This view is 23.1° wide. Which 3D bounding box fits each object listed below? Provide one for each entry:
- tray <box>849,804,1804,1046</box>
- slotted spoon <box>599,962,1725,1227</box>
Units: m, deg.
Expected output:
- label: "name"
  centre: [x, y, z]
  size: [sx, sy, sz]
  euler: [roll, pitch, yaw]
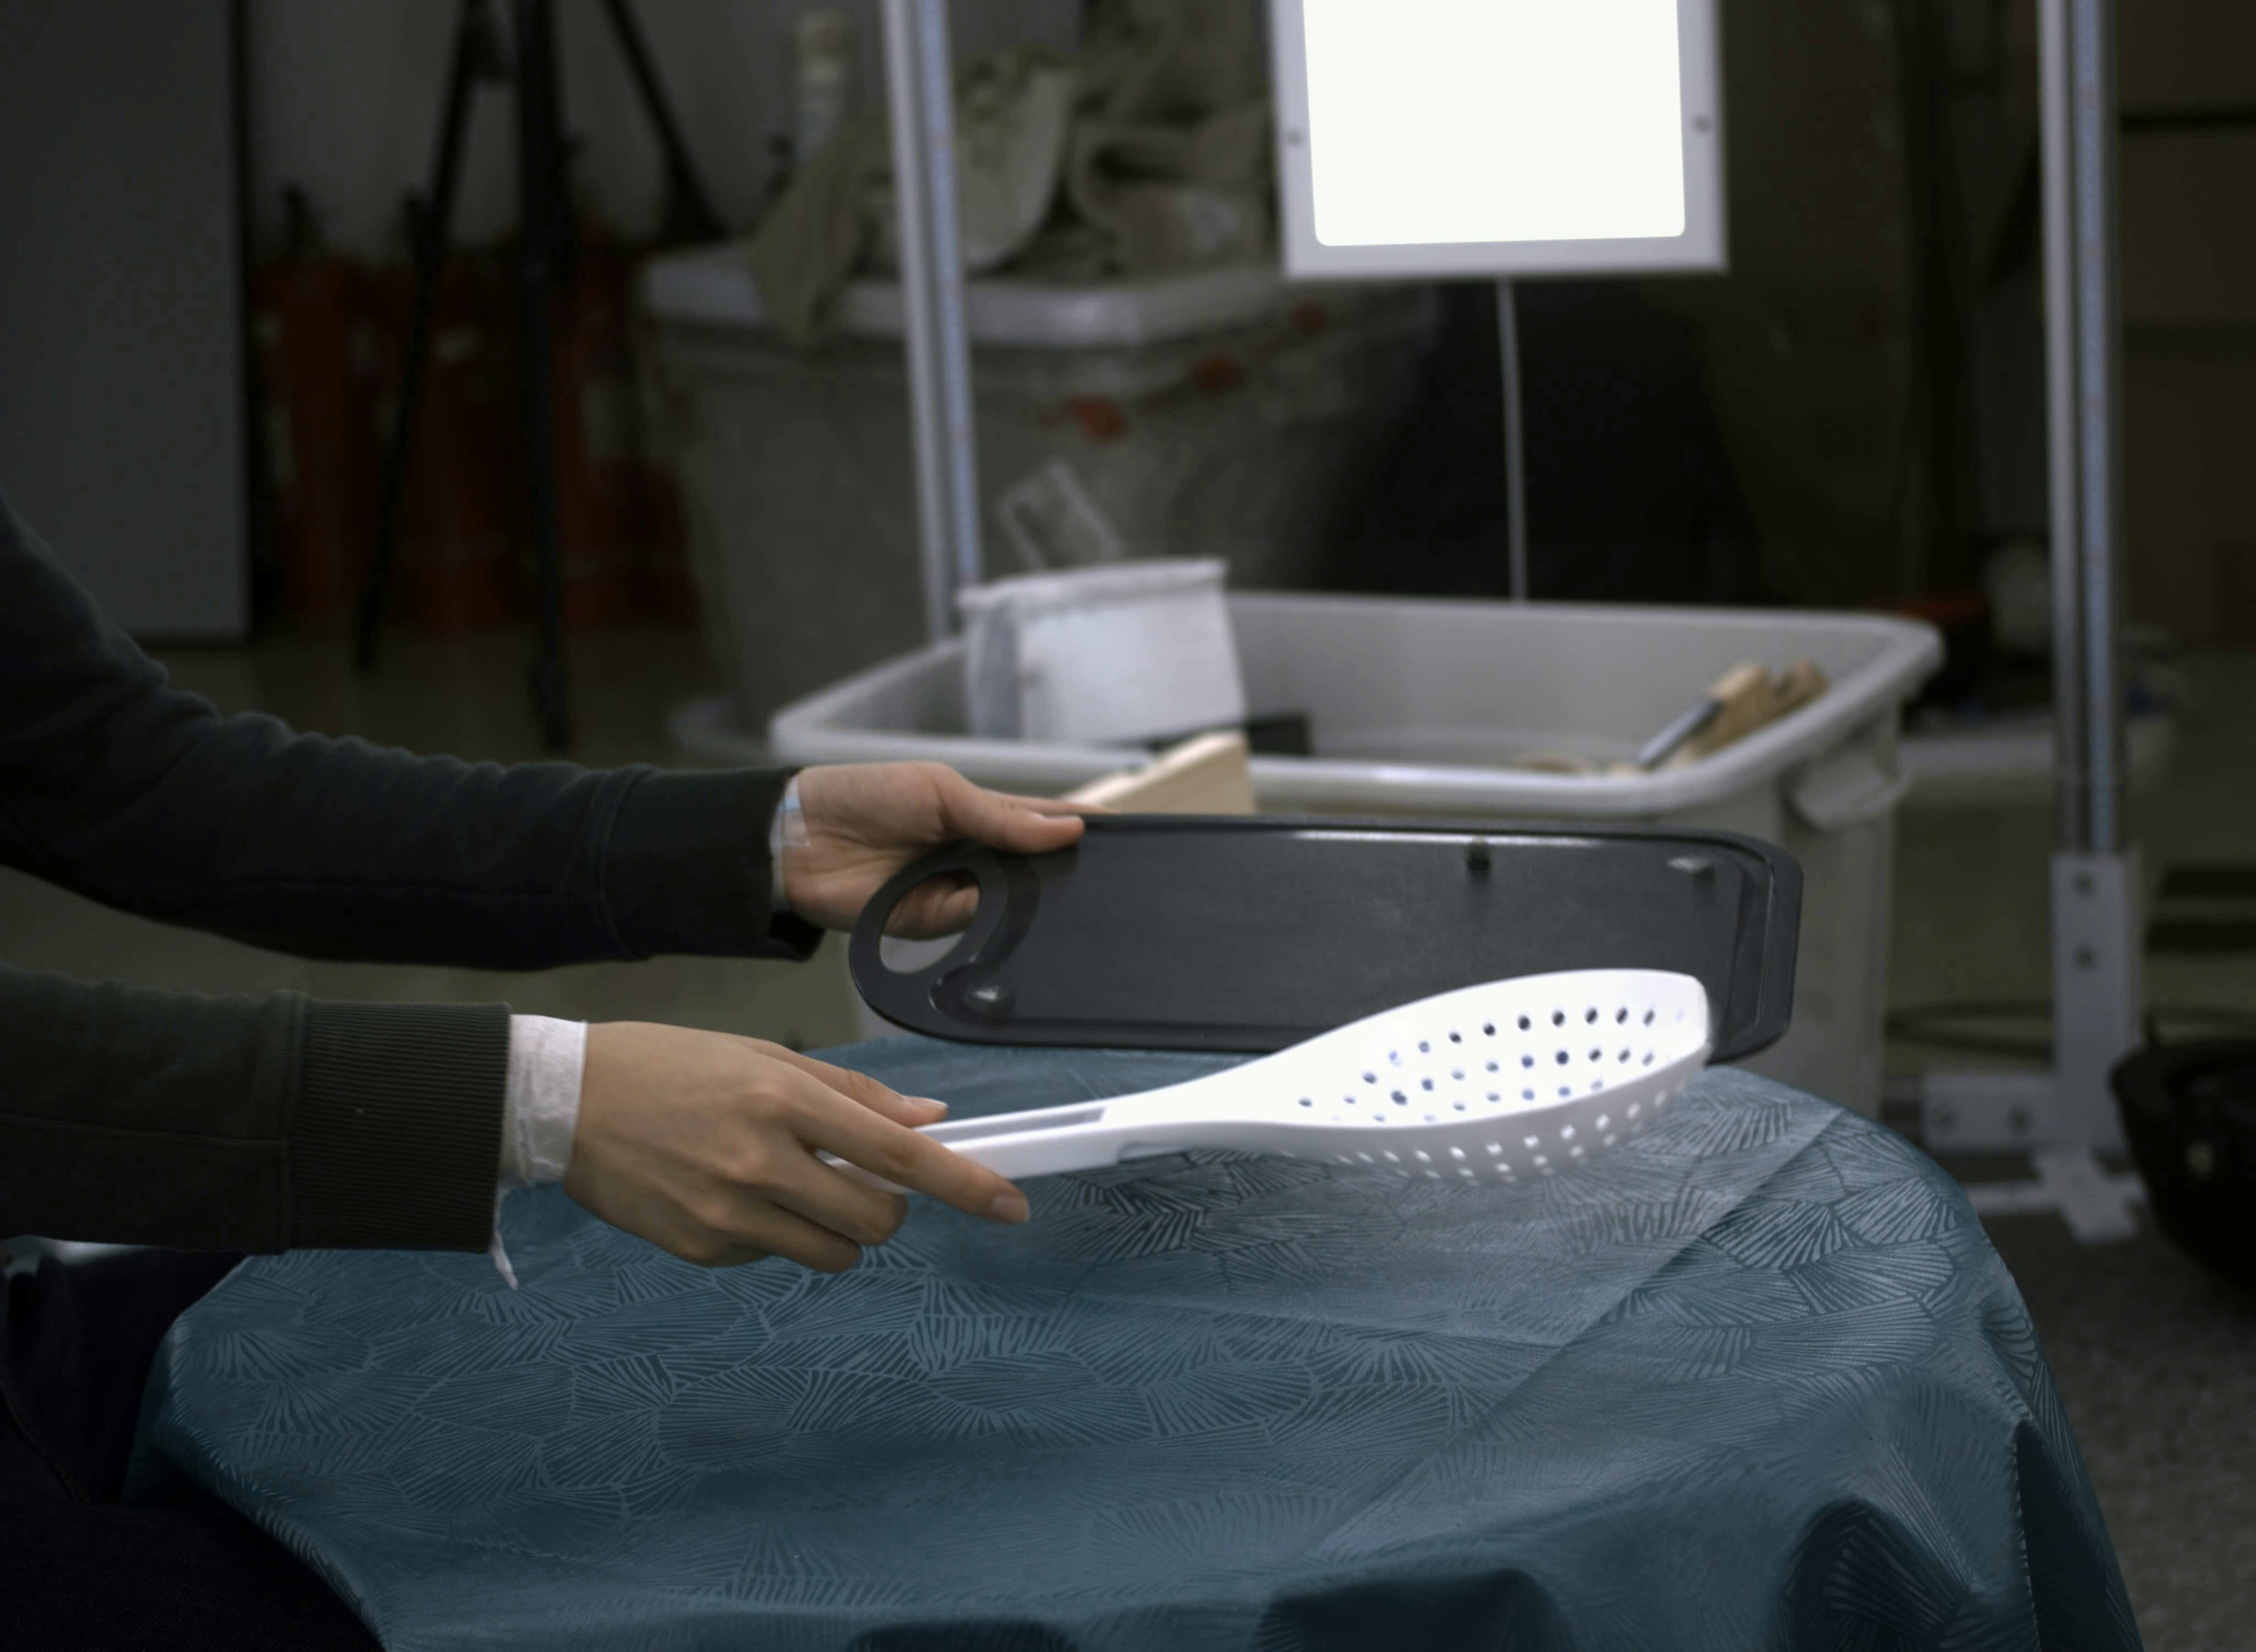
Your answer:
- label: "tray"
  centre: [0.067, 0.031, 1.881]
  size: [0.327, 0.010, 0.209]
  euler: [1, 21, 11]
- label: "slotted spoon"
  centre: [0.008, 0.086, 1.657]
  size: [0.352, 0.046, 0.134]
  euler: [-5, 13, 13]
